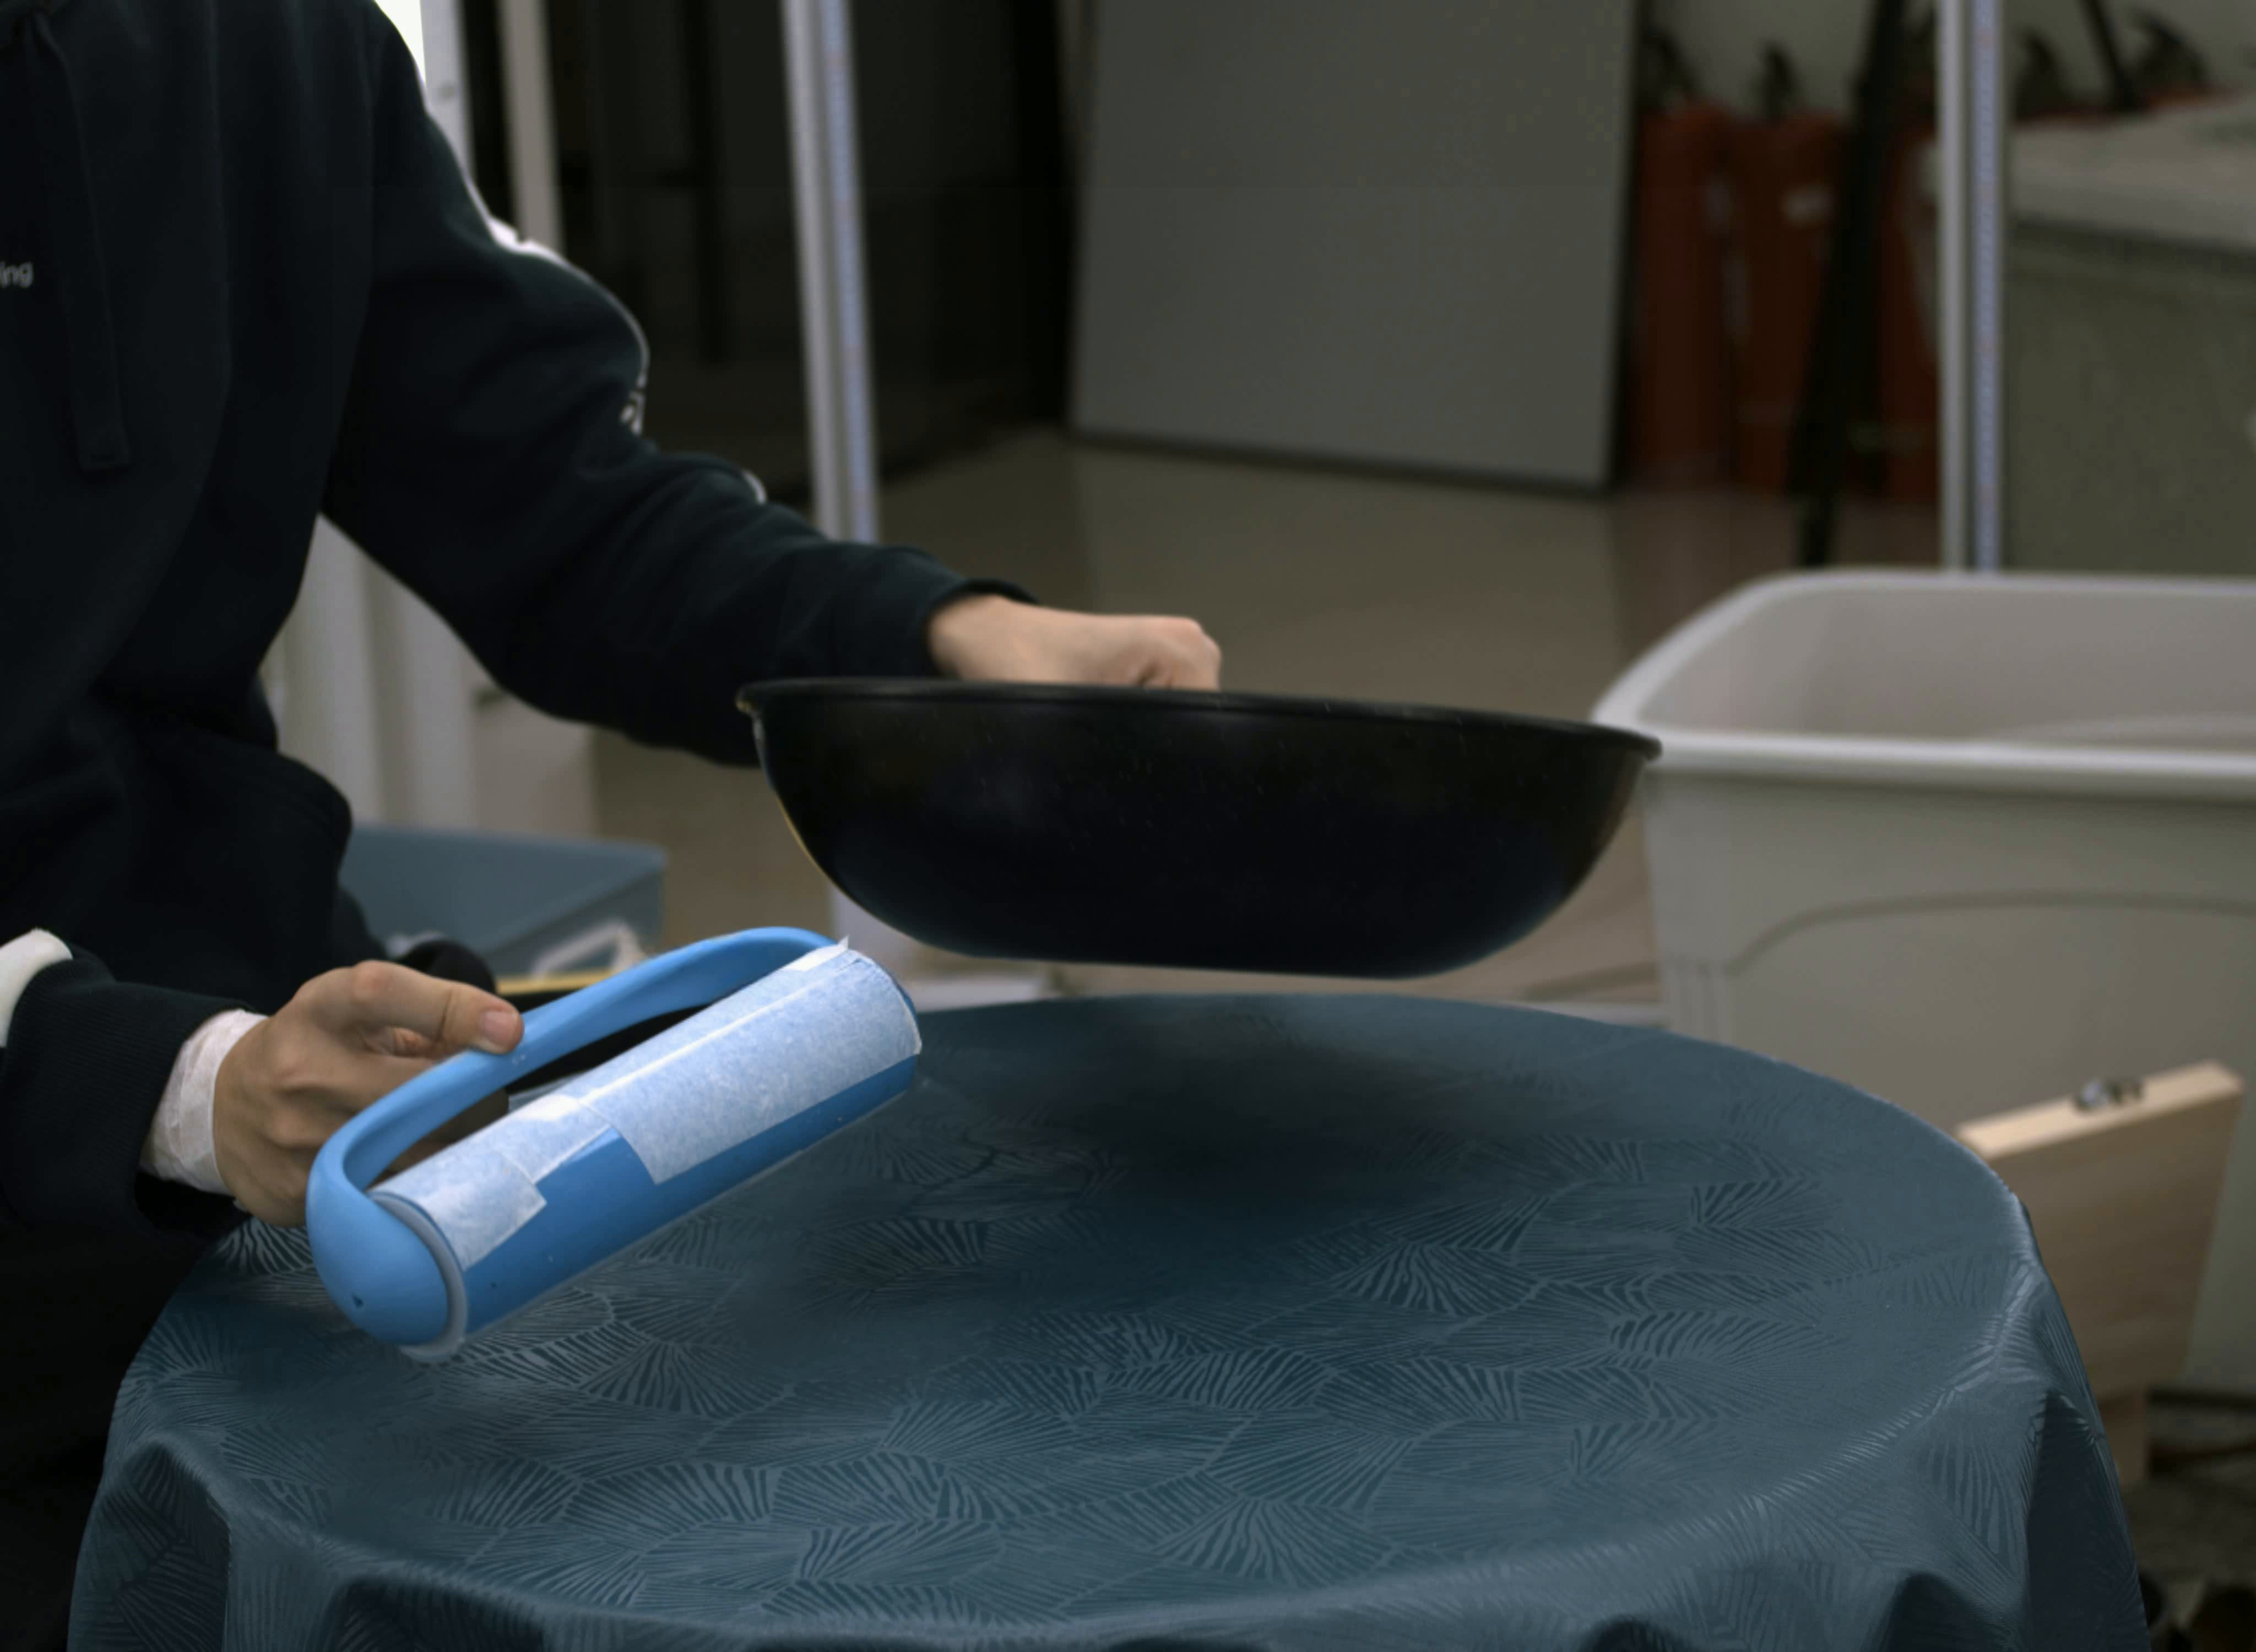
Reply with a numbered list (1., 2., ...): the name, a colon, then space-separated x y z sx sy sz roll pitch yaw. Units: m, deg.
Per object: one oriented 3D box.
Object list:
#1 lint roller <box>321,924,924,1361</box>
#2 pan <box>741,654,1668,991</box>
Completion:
1. lint roller: -0.186 0.094 1.634 0.181 0.068 0.225 -2 21 40
2. pan: 0.013 -0.003 1.860 0.305 0.113 0.478 5 -3 -6
